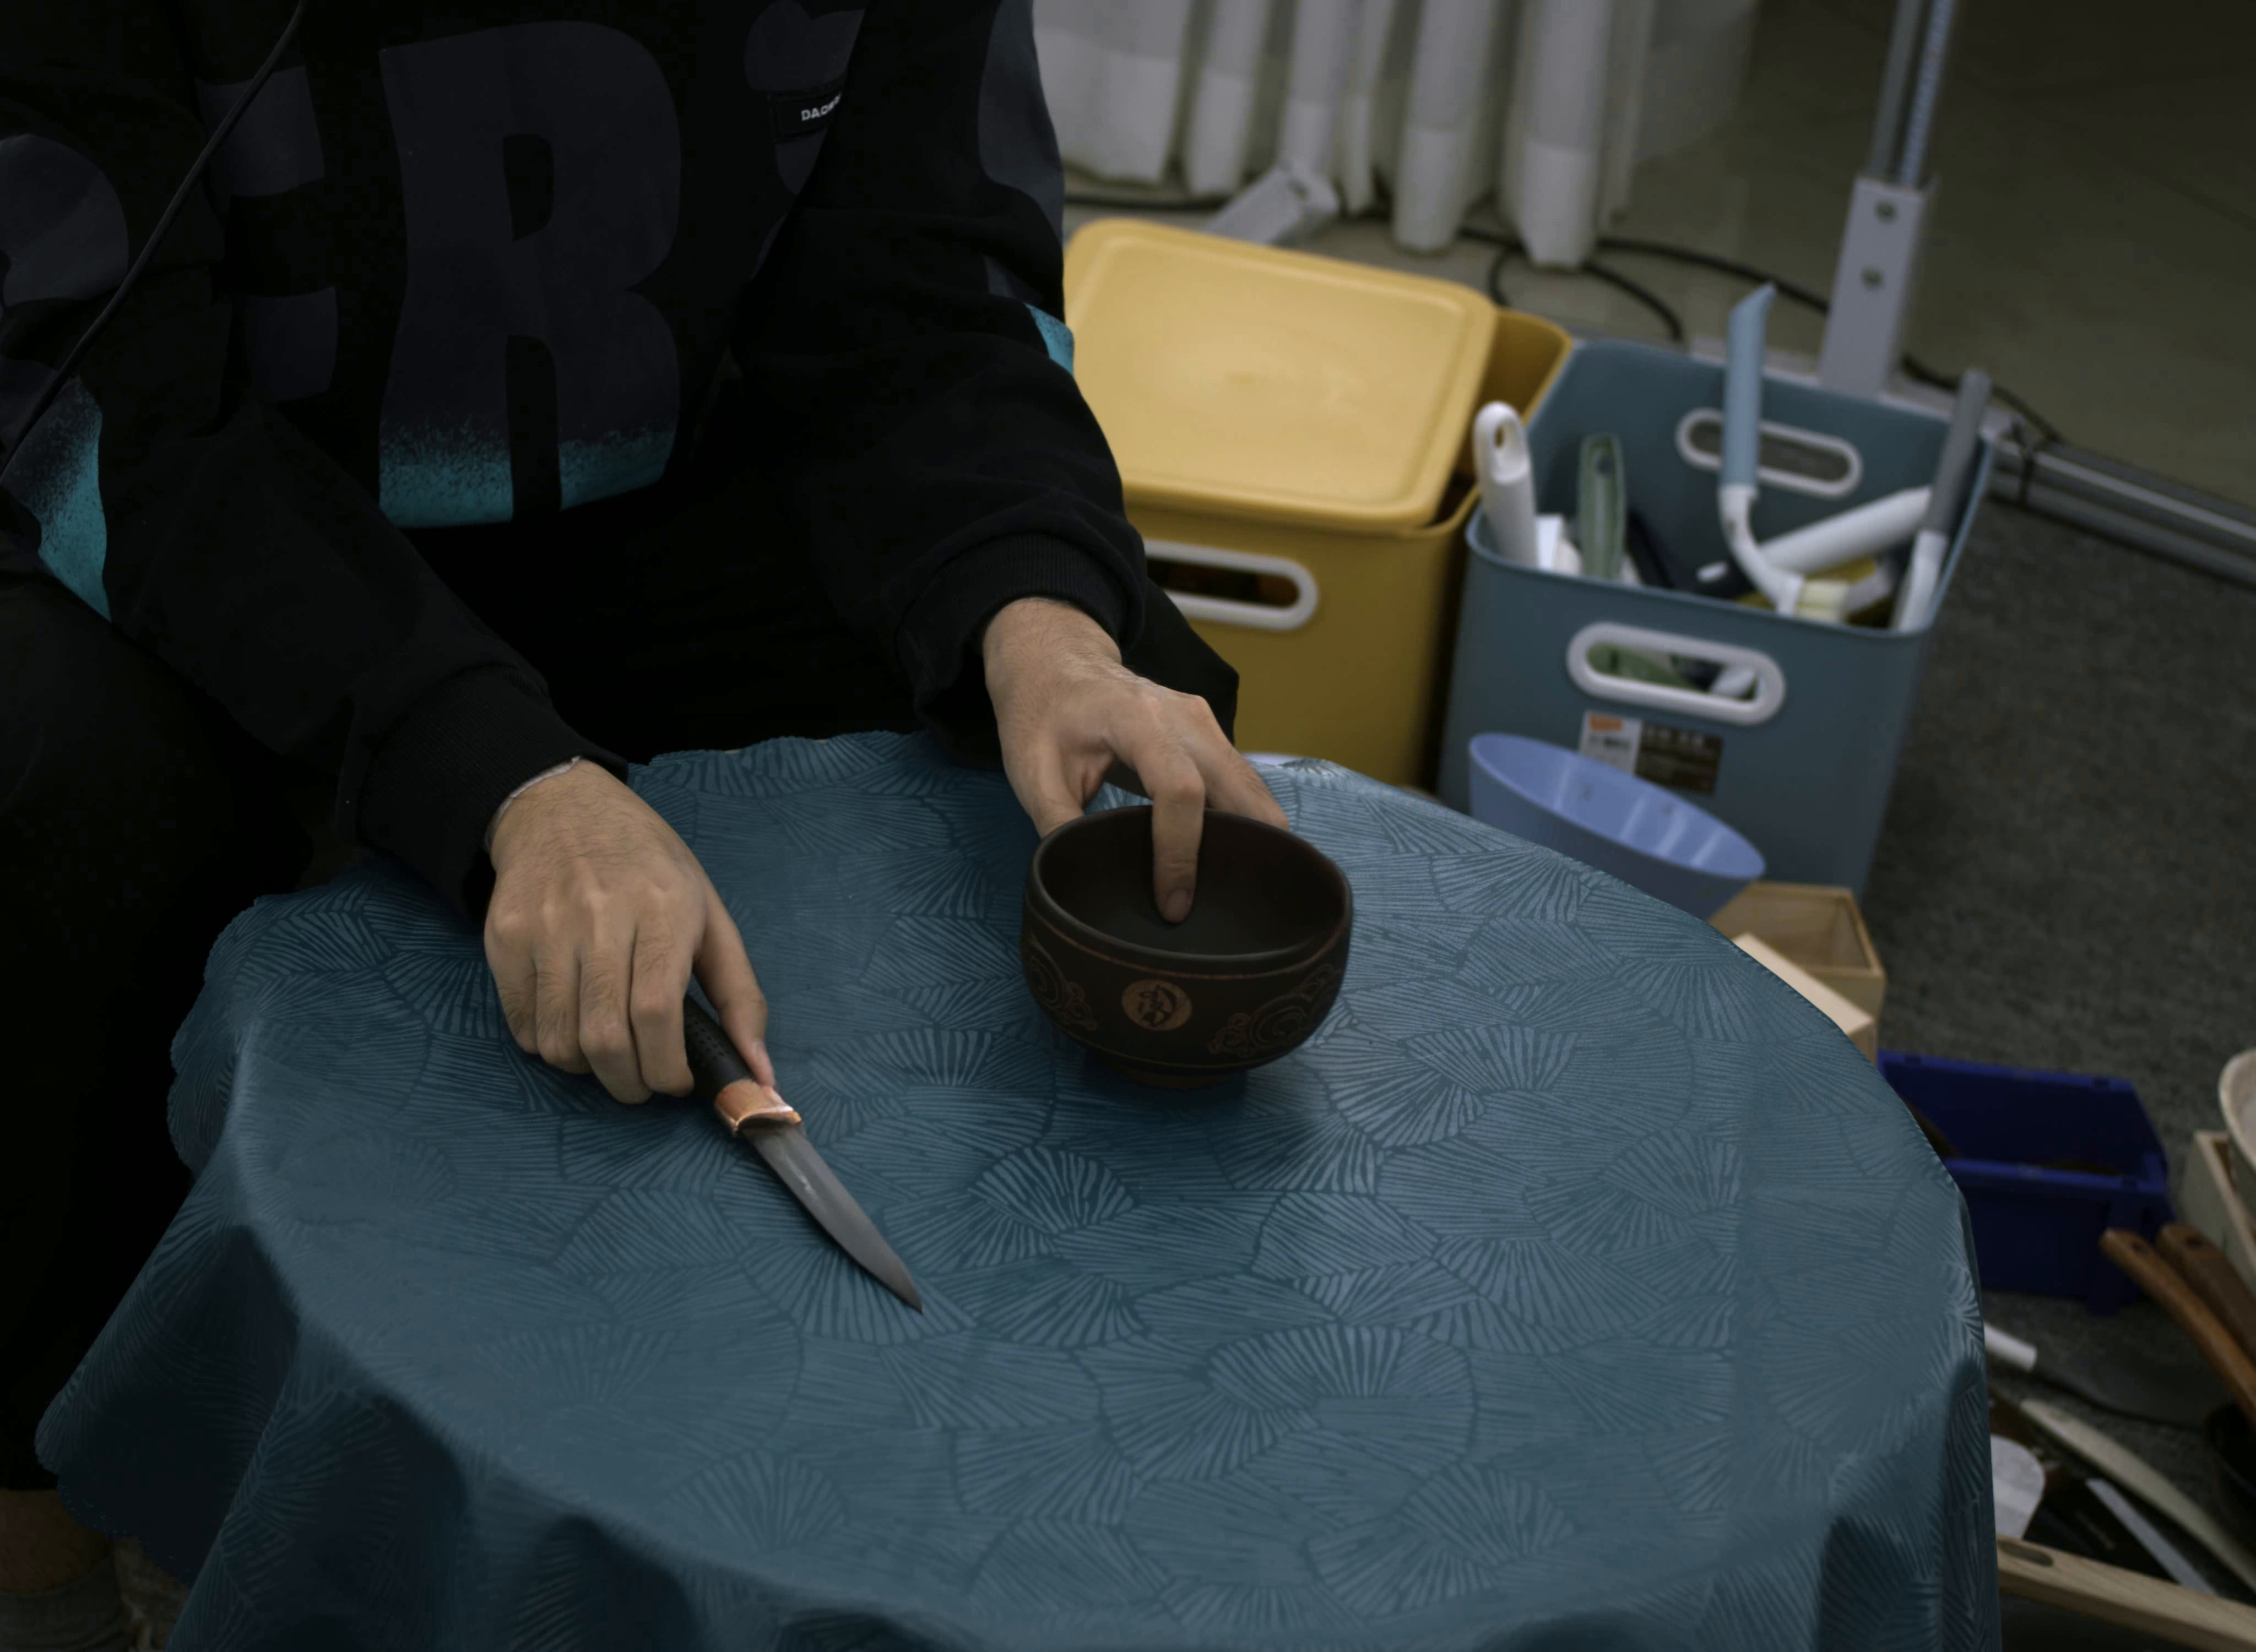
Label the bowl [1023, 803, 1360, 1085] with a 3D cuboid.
[{"bbox_3d":[0.020,0.048,1.873,0.117,0.069,0.119,6,25,-3],"label":"bowl"}]

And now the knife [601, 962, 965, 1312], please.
[{"bbox_3d":[-0.120,0.104,1.801,0.026,0.017,0.227,-3,29,-36],"label":"knife"}]
